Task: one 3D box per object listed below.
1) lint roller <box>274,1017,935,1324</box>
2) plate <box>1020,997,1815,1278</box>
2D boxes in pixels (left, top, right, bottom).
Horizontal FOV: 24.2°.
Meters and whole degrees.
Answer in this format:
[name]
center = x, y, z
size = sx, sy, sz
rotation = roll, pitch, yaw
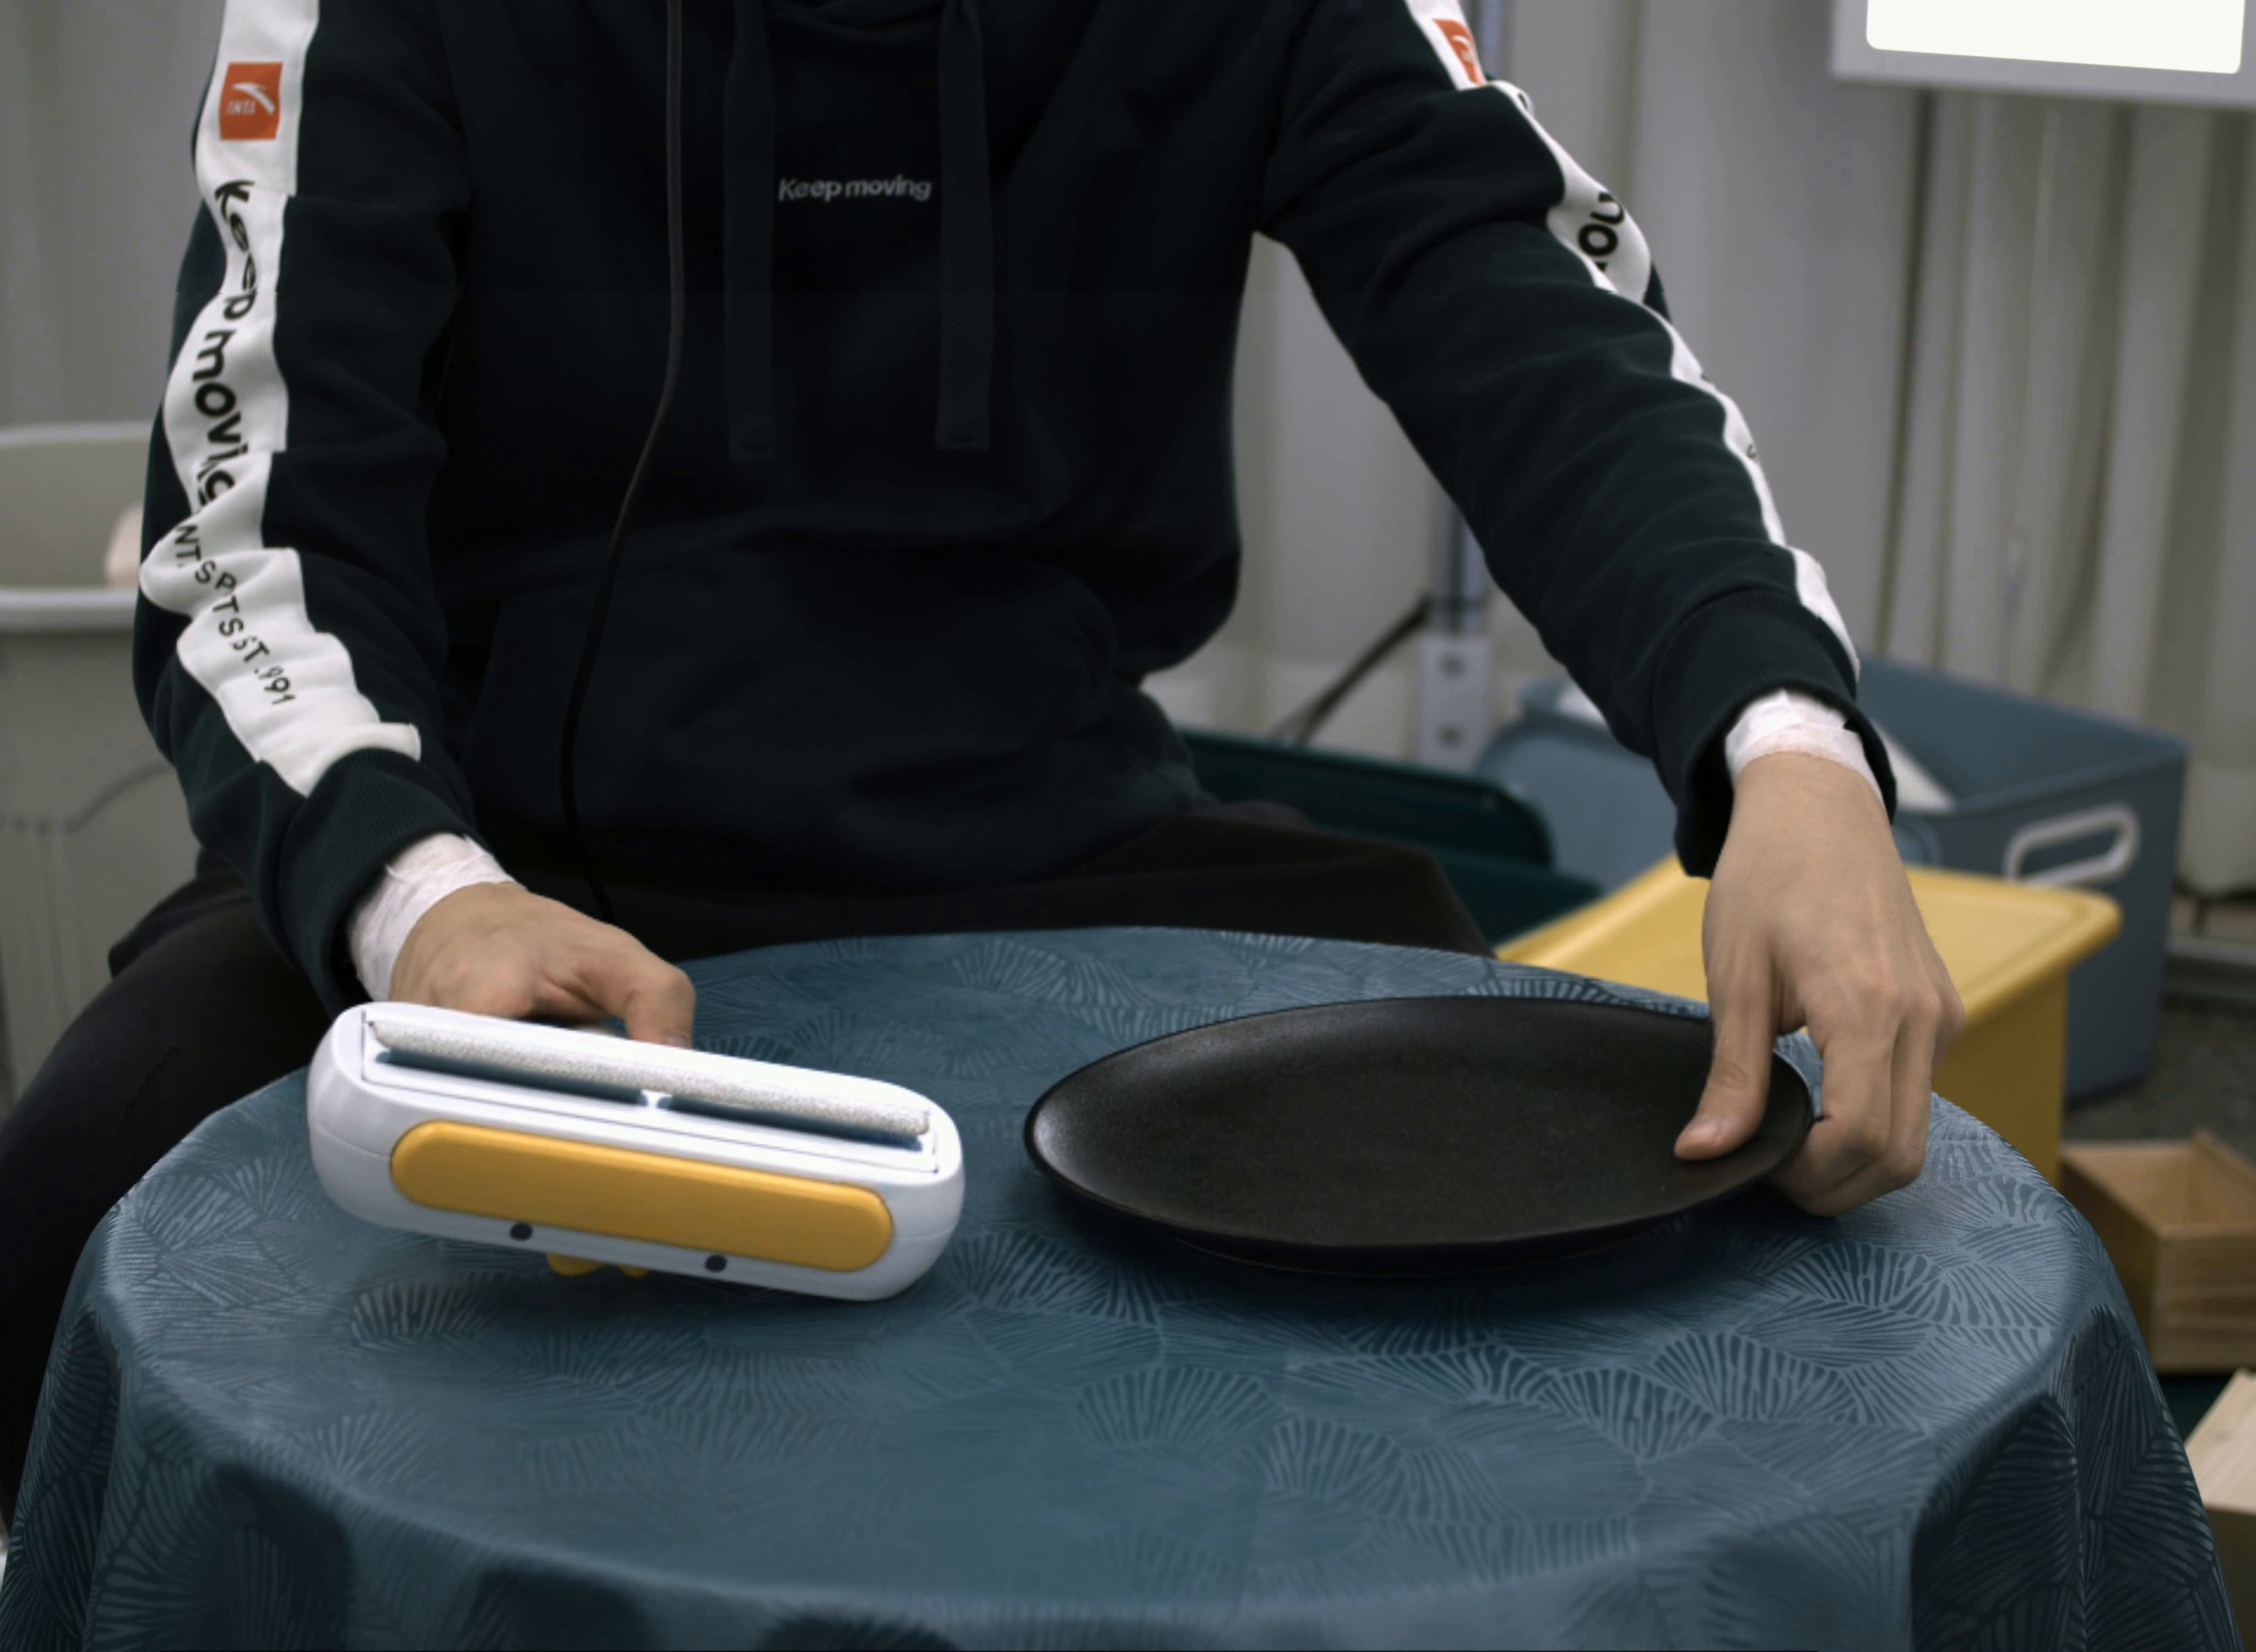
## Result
[lint roller]
center = -0.157, 0.101, 1.578
size = 0.193, 0.074, 0.192
rotation = 9, 3, -6
[plate]
center = 0.089, 0.098, 1.616
size = 0.243, 0.023, 0.243
rotation = -2, 15, 1
